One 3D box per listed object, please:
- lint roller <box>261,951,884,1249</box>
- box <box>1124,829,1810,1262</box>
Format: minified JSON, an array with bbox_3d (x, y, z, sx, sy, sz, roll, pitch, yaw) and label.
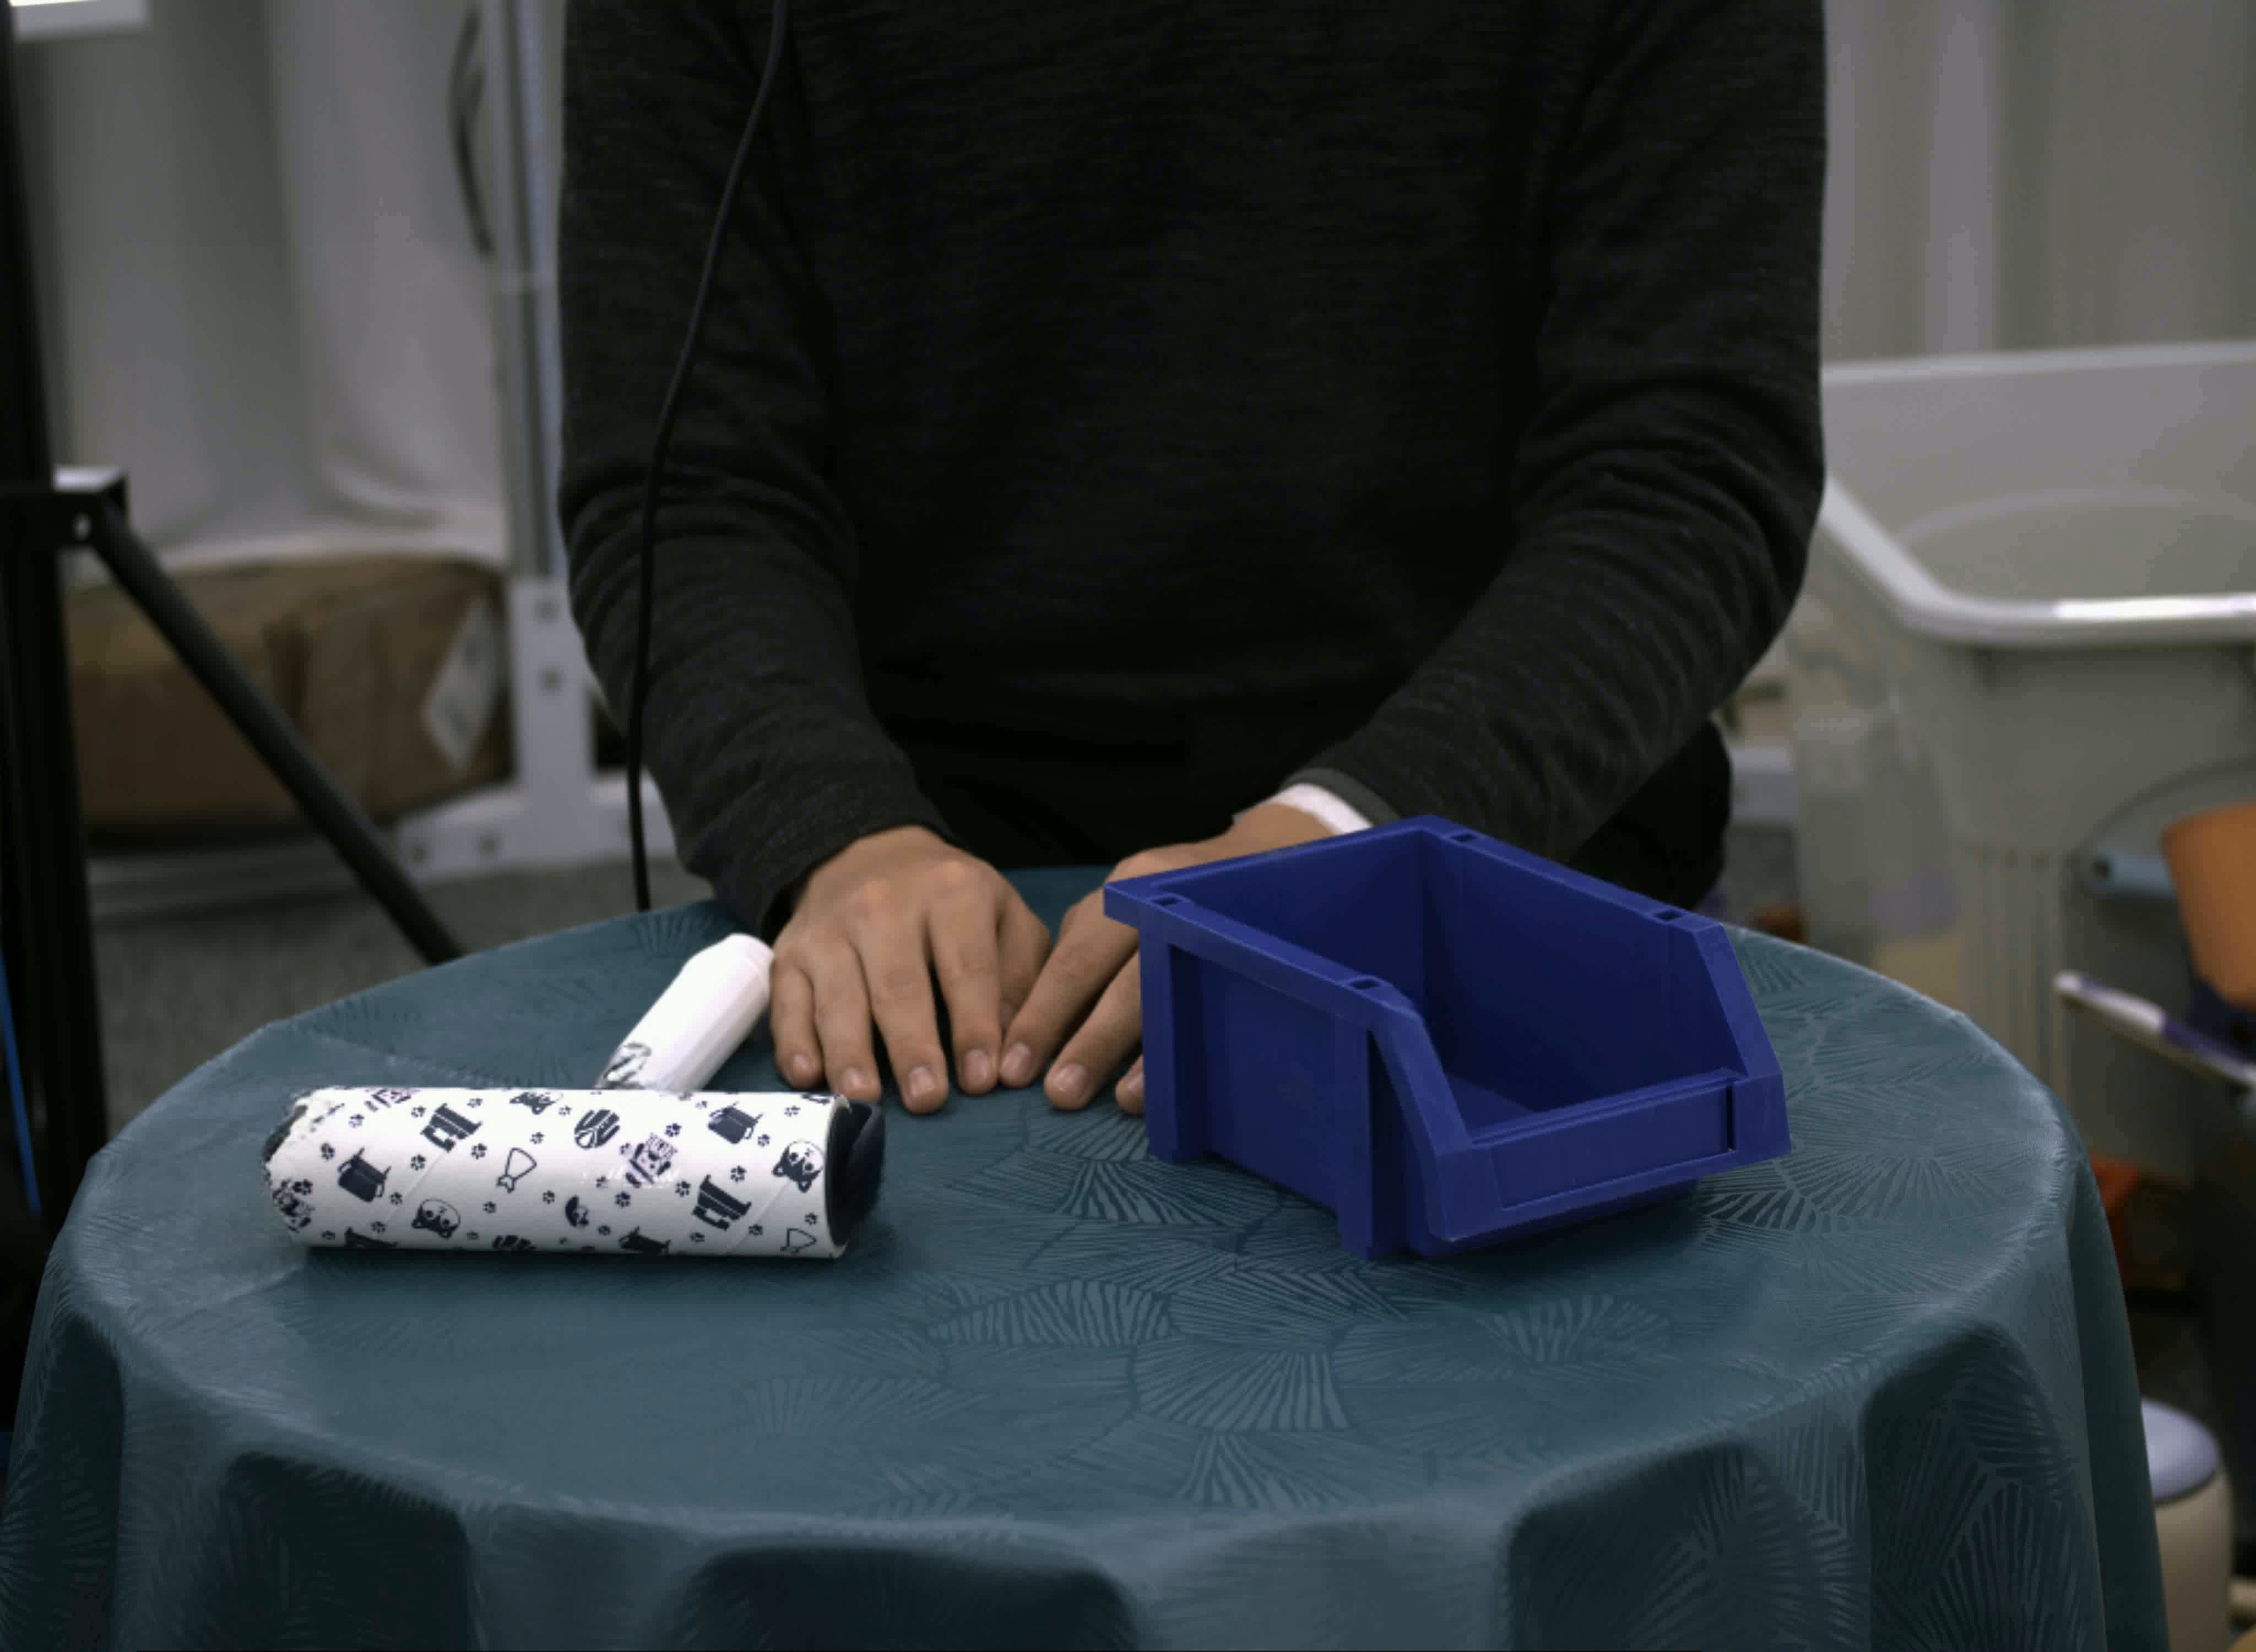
[{"bbox_3d":[-0.146,0.073,1.626,0.177,0.050,0.246,-1,15,9],"label":"lint roller"},{"bbox_3d":[0.098,0.065,1.542,0.122,0.082,0.183,-10,15,-28],"label":"box"}]
